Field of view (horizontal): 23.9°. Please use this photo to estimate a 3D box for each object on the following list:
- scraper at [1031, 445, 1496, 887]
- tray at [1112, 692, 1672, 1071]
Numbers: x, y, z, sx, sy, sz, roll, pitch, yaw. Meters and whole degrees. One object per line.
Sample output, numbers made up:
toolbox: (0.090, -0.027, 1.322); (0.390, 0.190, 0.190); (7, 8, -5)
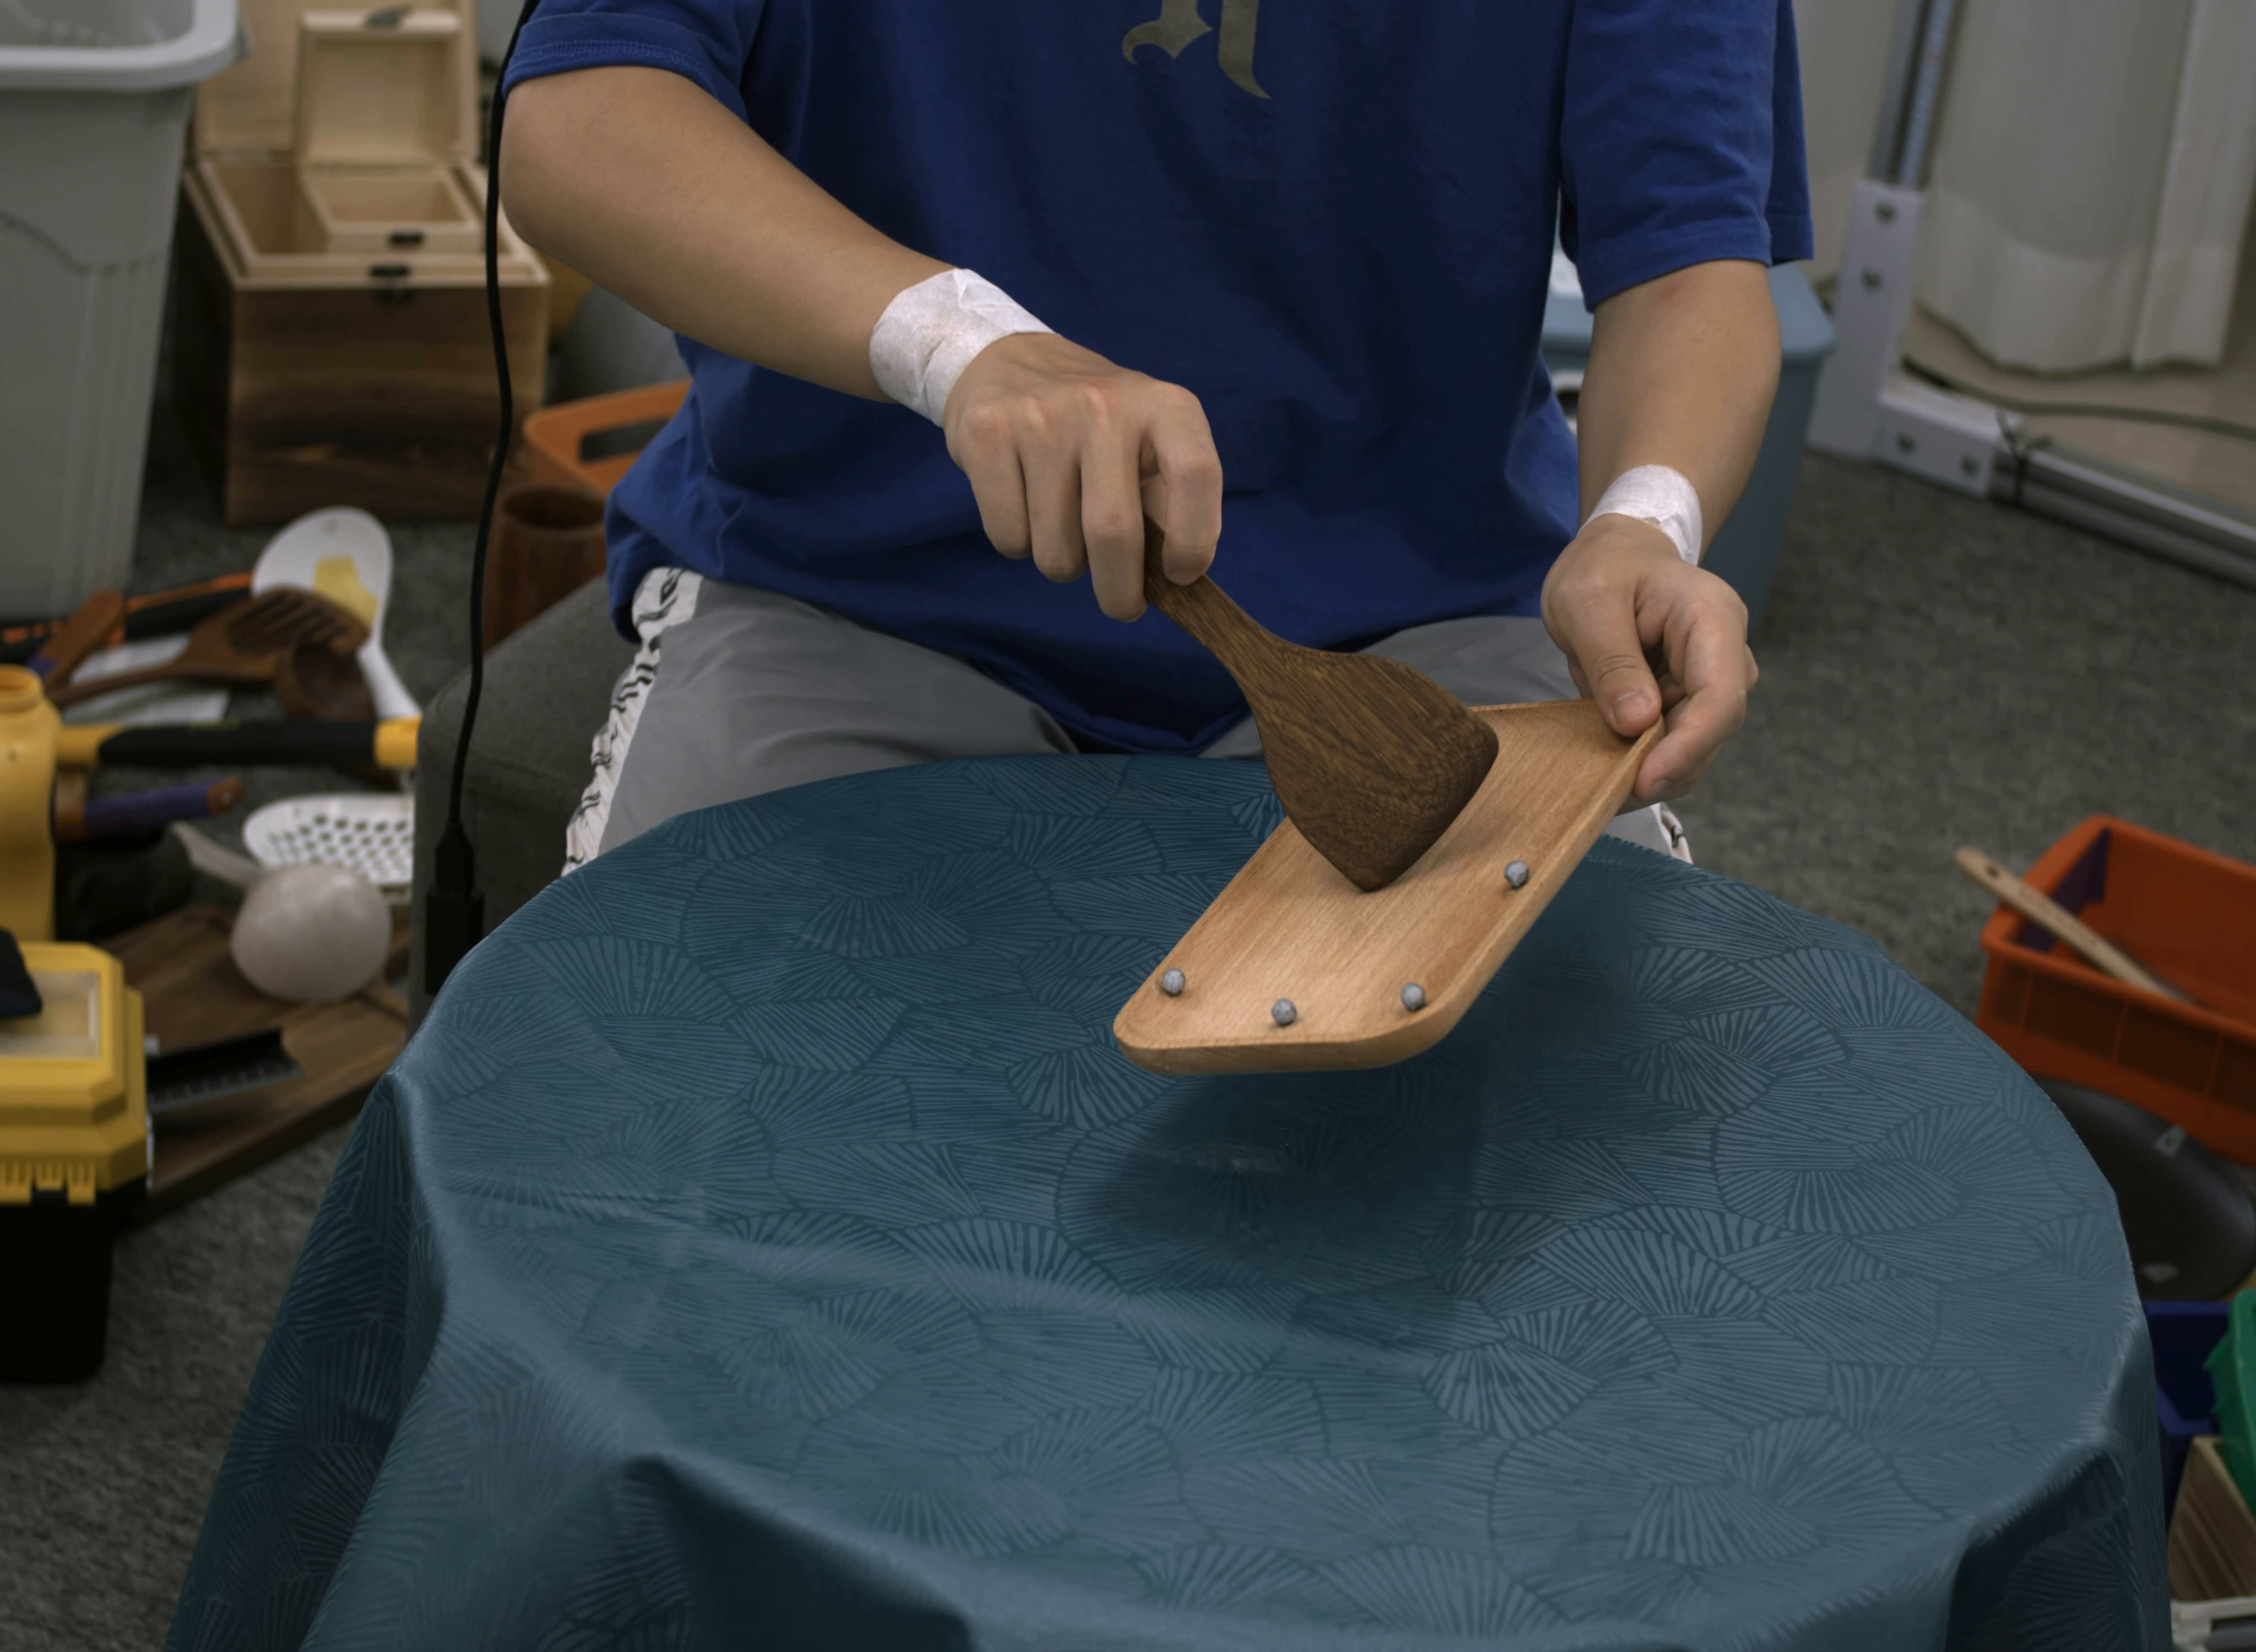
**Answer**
scraper: (0.039, -0.066, 1.884); (0.213, 0.076, 0.011); (43, 9, 28)
tray: (0.095, 0.018, 1.847); (0.131, 0.023, 0.251); (-1, 27, 30)
